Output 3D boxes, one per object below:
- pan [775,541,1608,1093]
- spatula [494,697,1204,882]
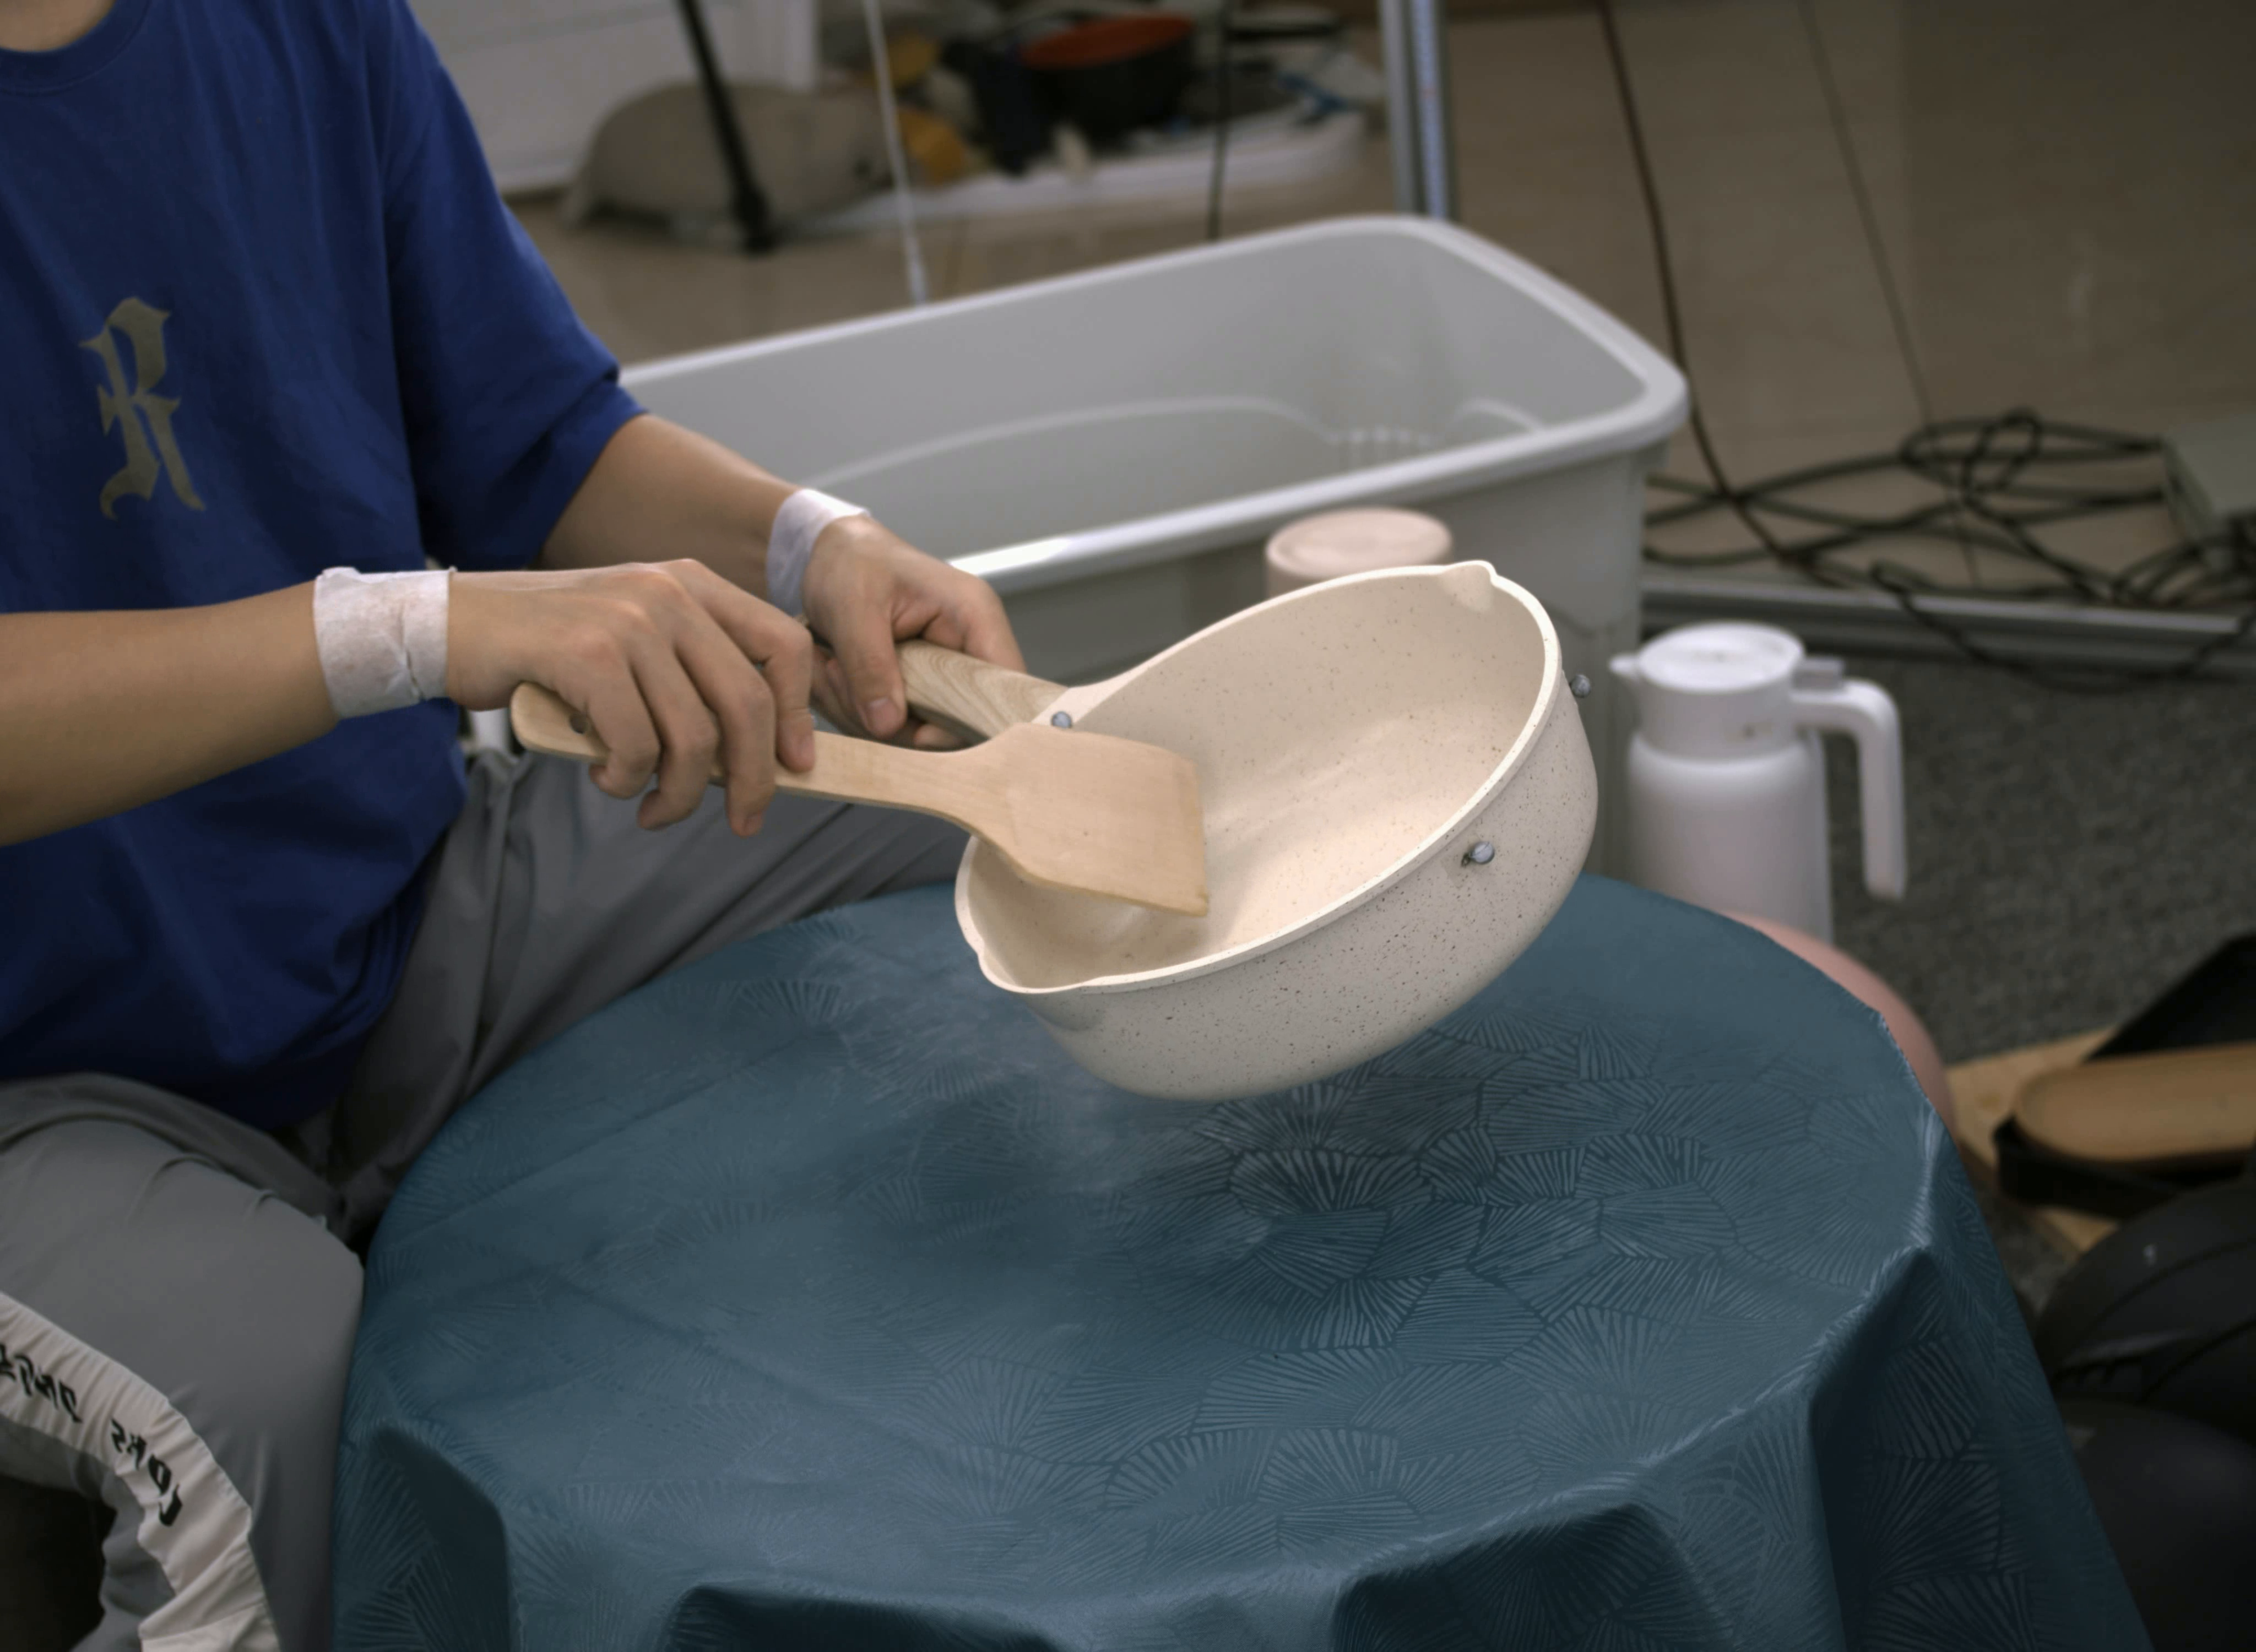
[{"bbox_3d":[0.010,-0.013,2.216,0.261,0.103,0.432,-45,31,-22],"label":"pan"},{"bbox_3d":[-0.102,-0.024,2.132,0.293,0.071,0.011,6,-24,-27],"label":"spatula"}]
